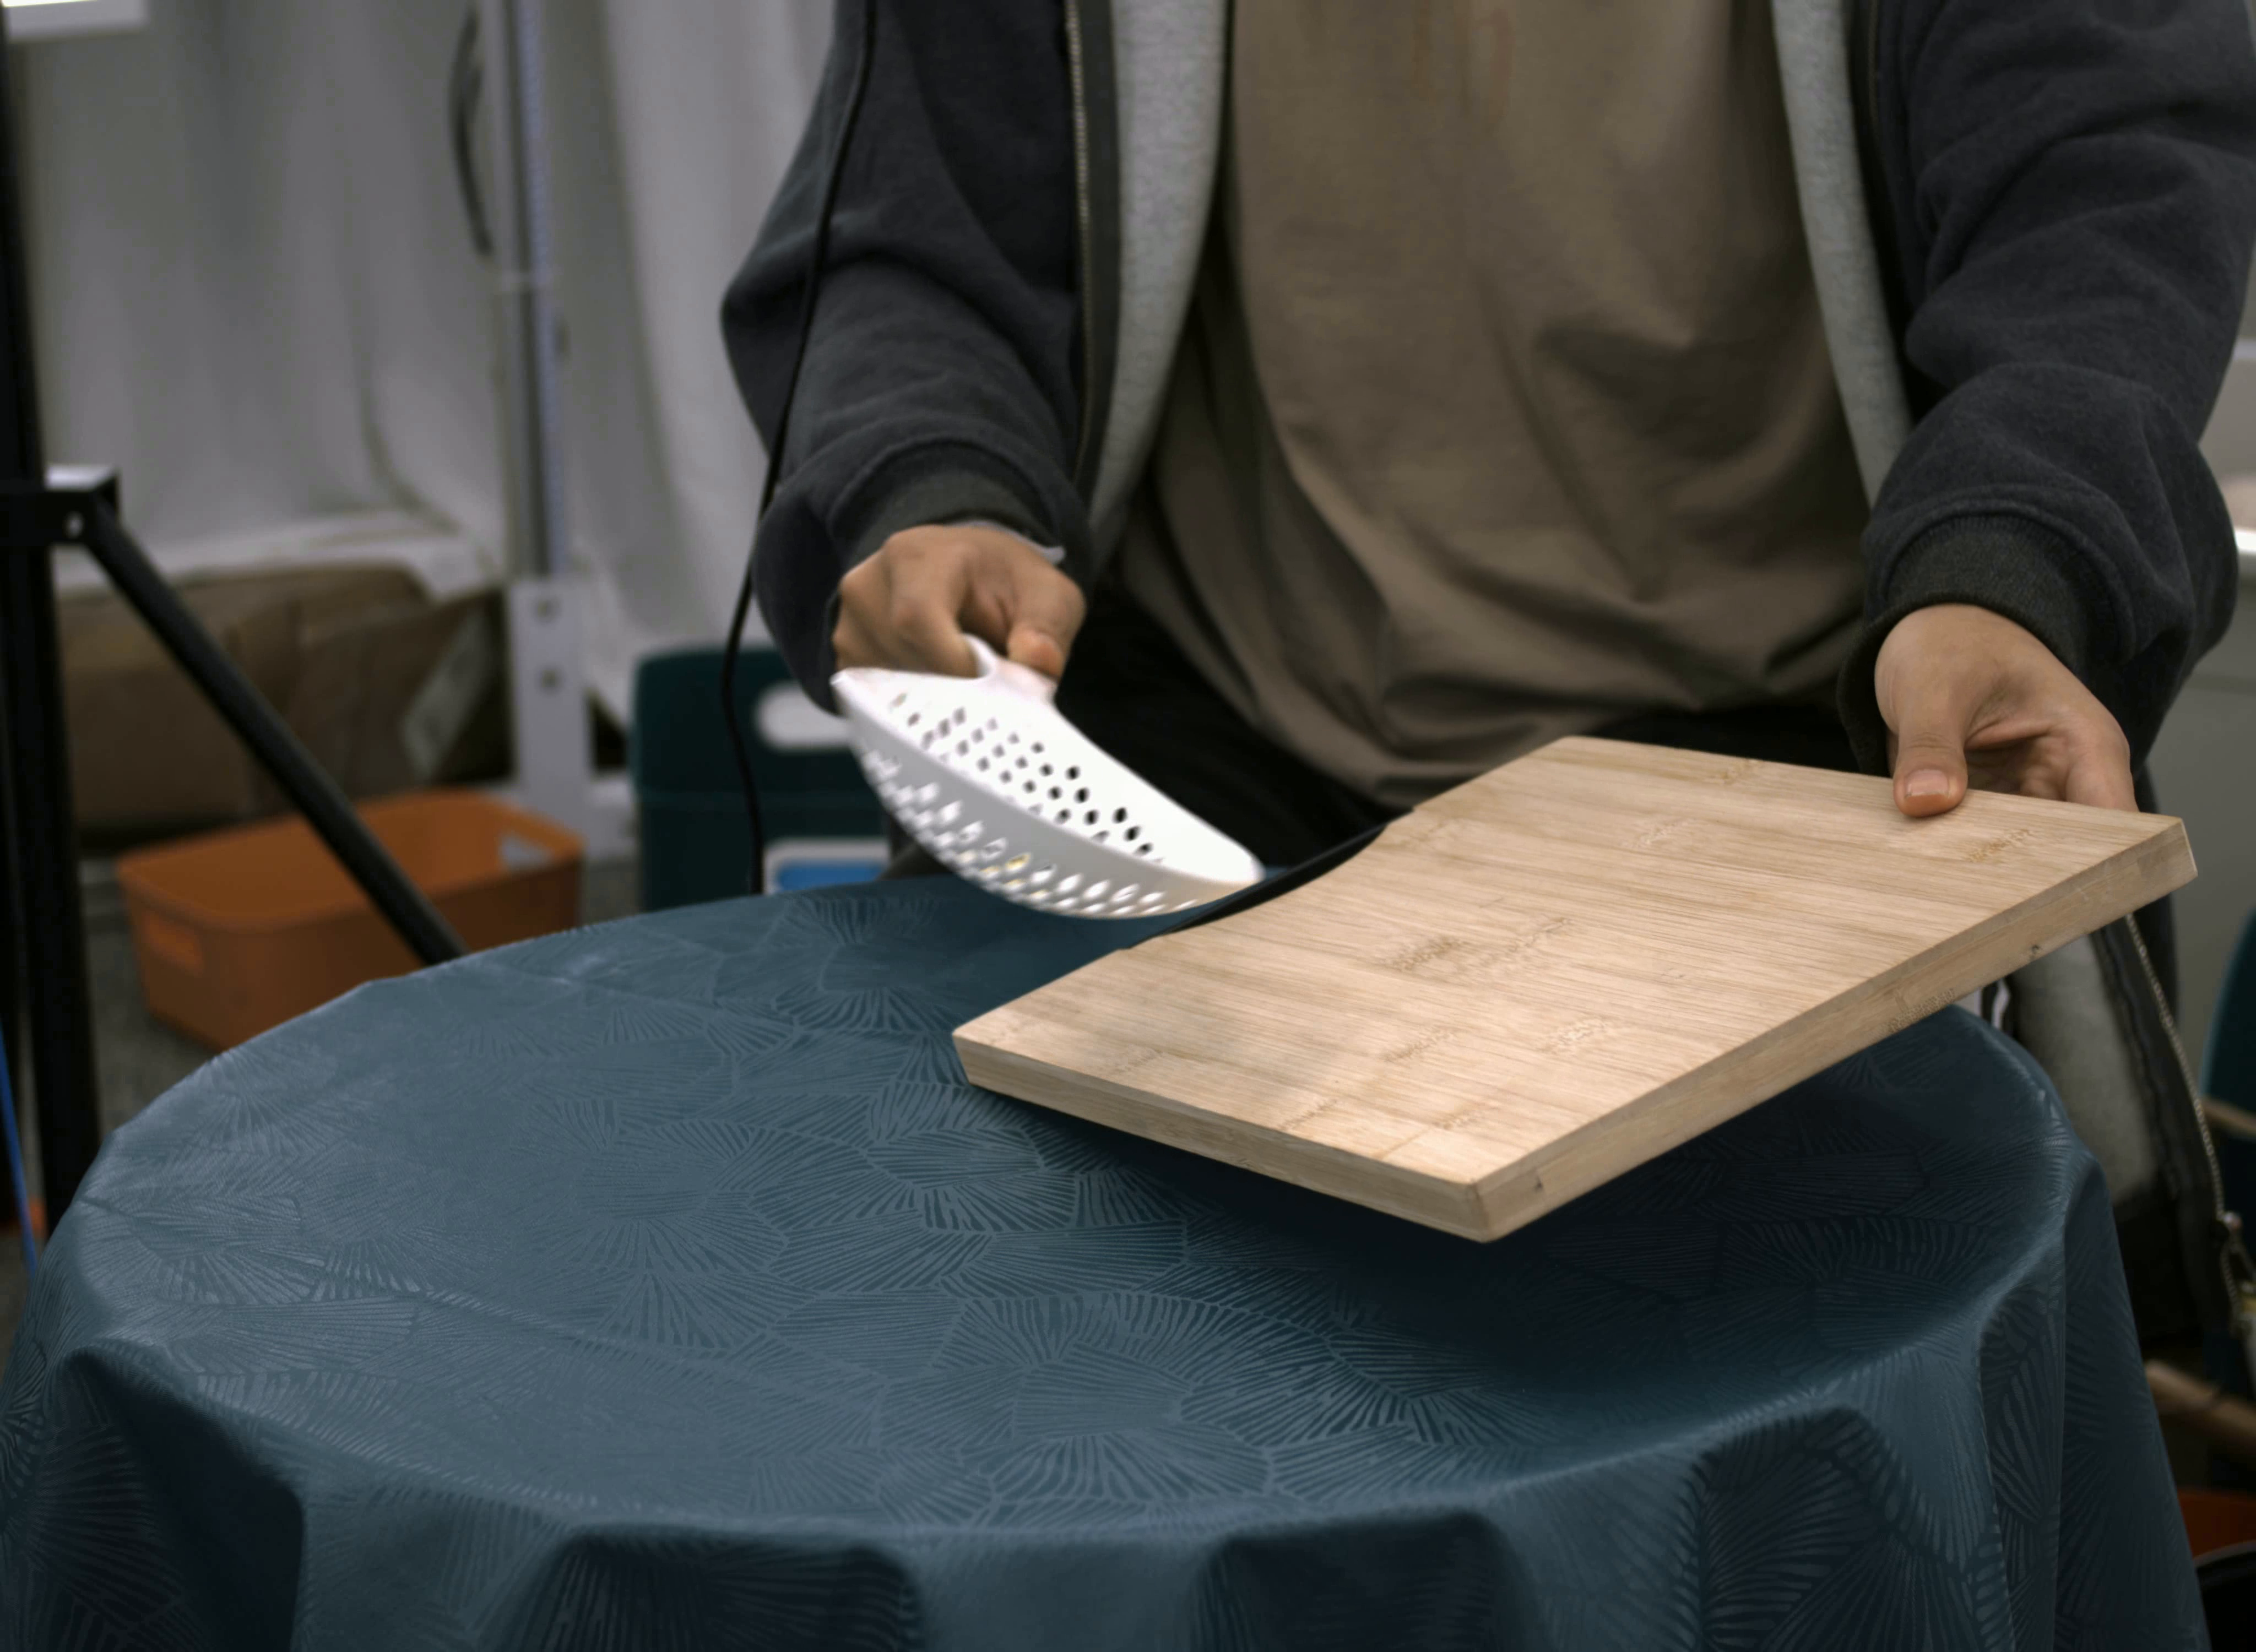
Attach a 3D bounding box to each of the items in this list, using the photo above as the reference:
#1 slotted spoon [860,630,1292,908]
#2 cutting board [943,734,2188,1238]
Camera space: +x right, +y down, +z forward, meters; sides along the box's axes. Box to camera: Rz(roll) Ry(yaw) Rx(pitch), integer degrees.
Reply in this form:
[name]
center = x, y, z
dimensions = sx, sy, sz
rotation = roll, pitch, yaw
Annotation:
[slotted spoon]
center = -0.035, -0.030, 1.636
dimensions = 0.135, 0.050, 0.350
rotation = 24, 11, -11
[cutting board]
center = 0.117, 0.039, 1.555
dimensions = 0.247, 0.023, 0.355
rotation = -25, 14, -21
